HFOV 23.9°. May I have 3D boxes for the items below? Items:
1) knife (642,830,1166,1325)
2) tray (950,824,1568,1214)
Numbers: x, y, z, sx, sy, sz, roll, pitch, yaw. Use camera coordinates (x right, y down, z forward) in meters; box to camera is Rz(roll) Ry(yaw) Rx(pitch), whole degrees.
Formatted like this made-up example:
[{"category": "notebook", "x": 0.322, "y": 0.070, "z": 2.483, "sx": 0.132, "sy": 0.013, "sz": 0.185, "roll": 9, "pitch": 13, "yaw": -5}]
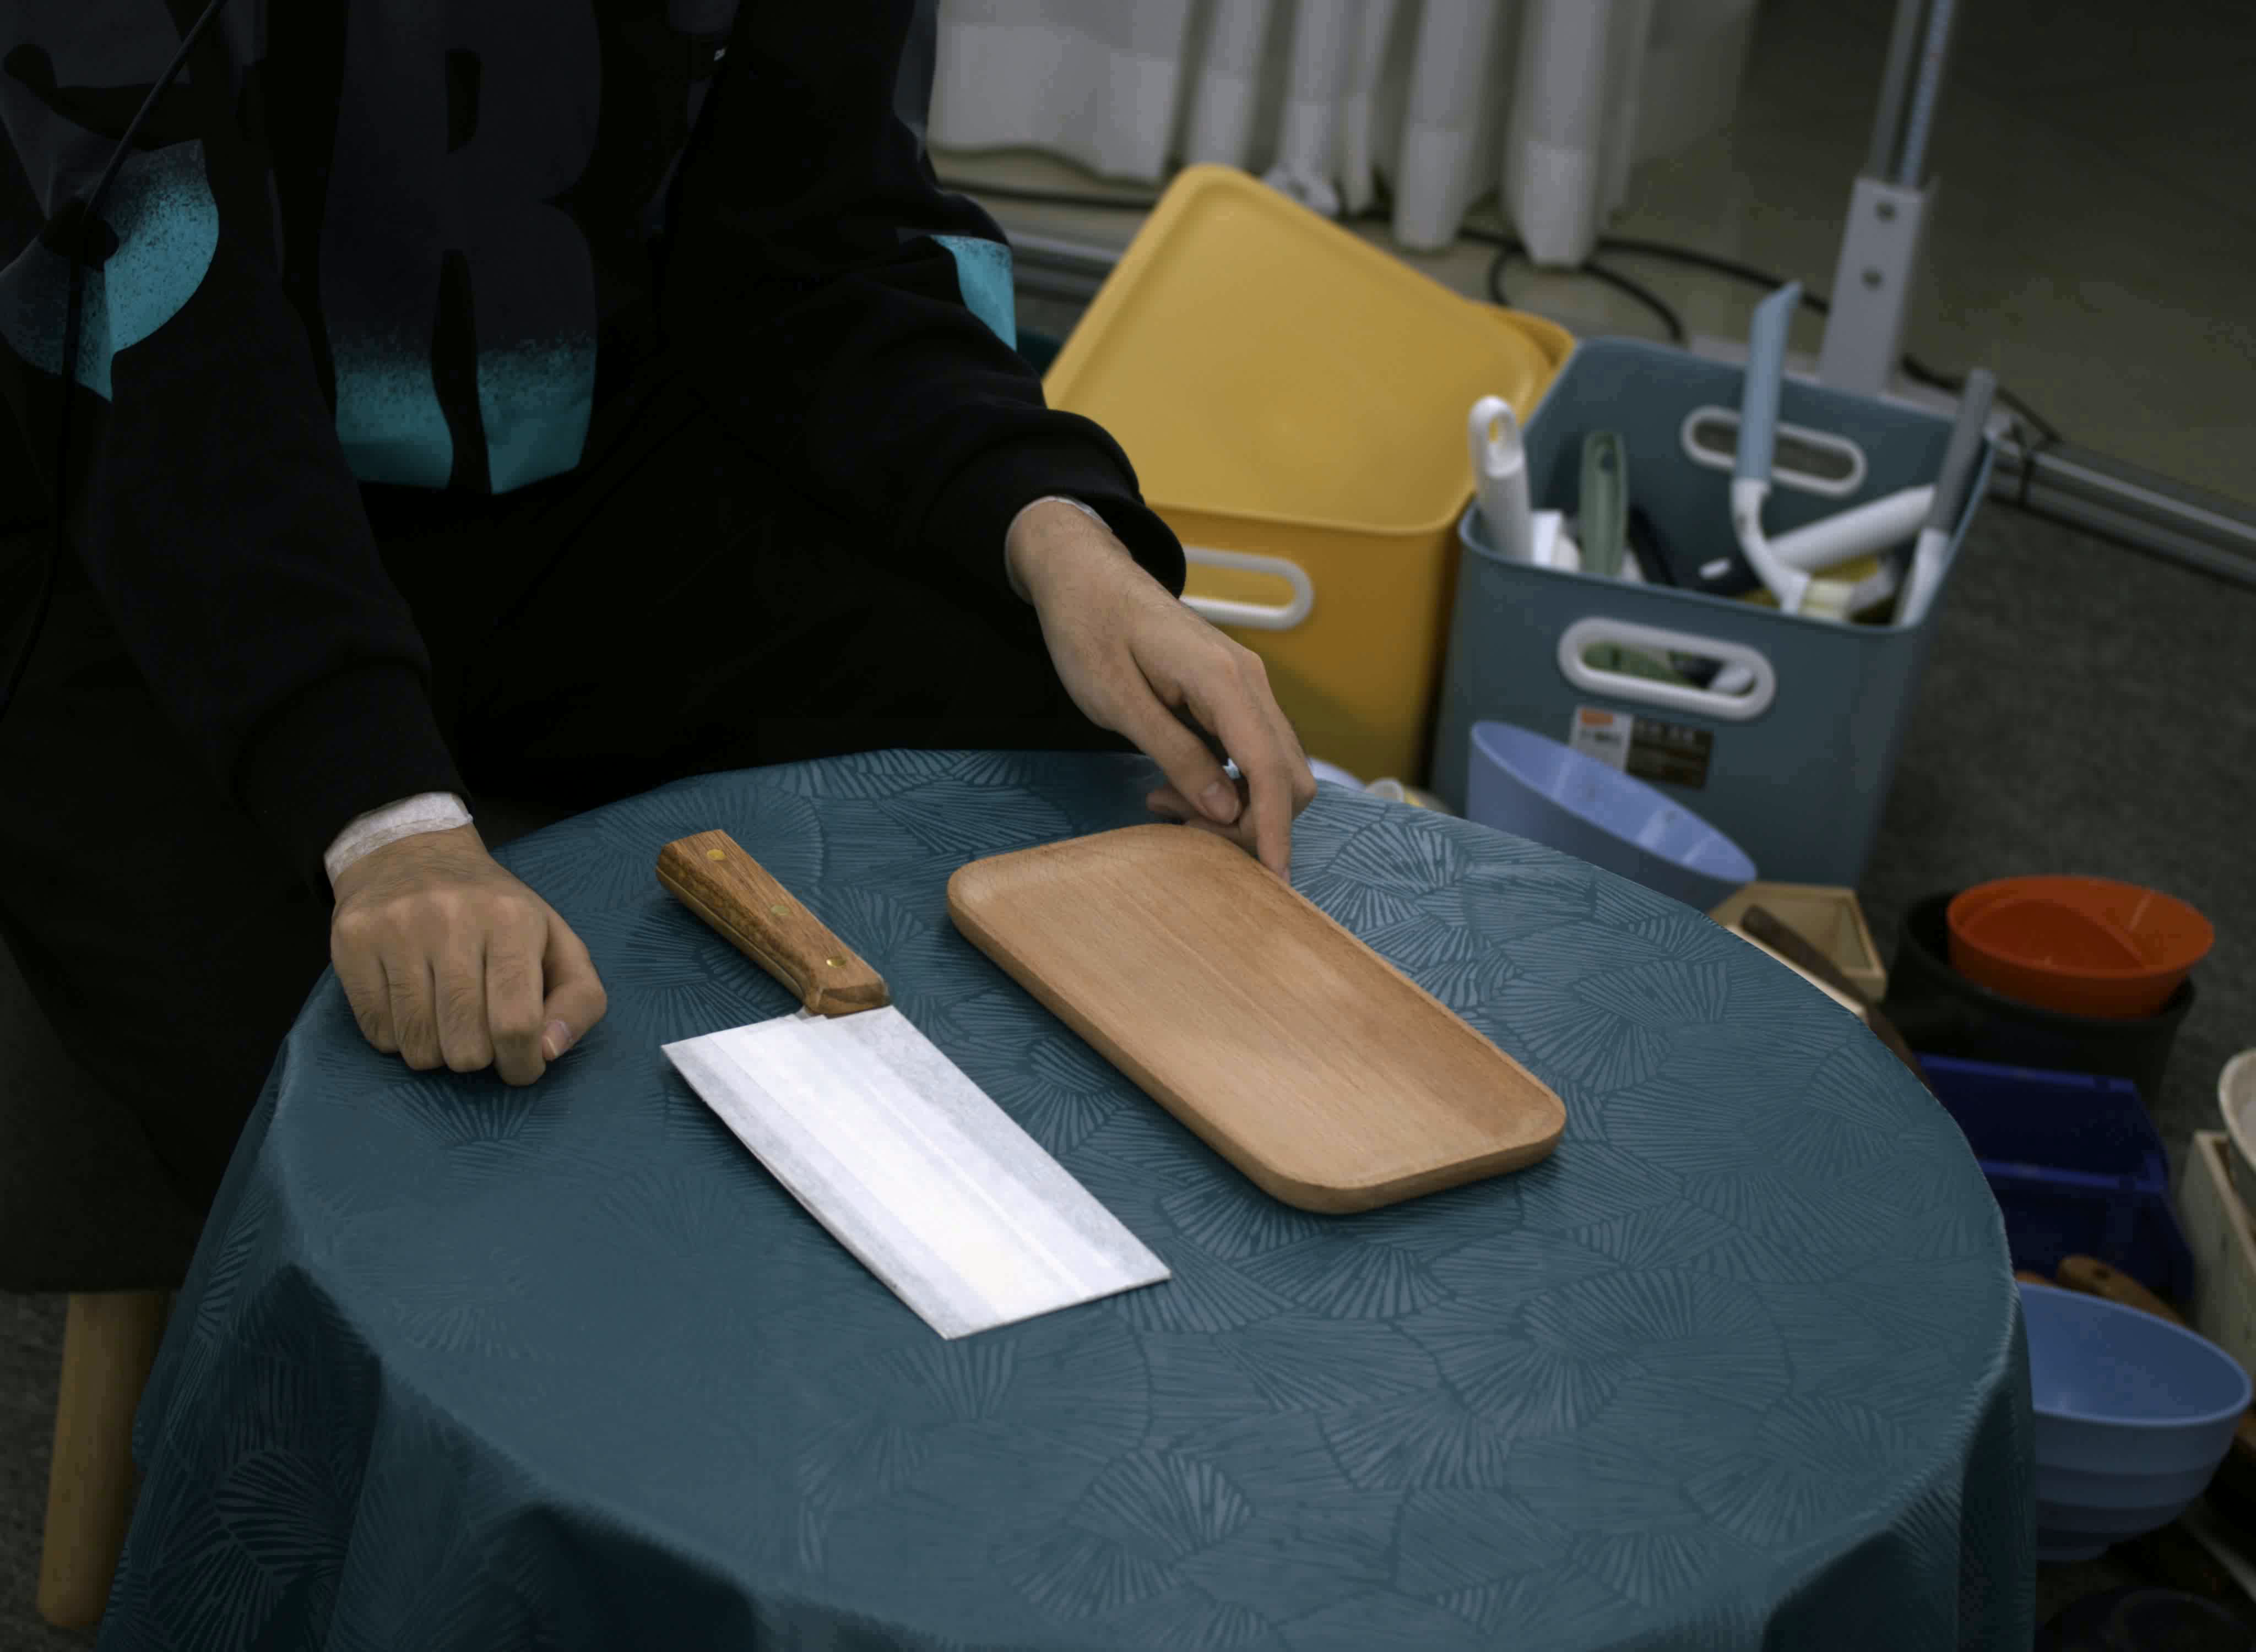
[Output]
[{"category": "knife", "x": -0.103, "y": 0.085, "z": 1.838, "sx": 0.092, "sy": 0.021, "sz": 0.308, "roll": -13, "pitch": 35, "yaw": -31}, {"category": "tray", "x": 0.043, "y": 0.066, "z": 1.907, "sx": 0.129, "sy": 0.023, "sz": 0.253, "roll": -9, "pitch": 30, "yaw": -31}]
